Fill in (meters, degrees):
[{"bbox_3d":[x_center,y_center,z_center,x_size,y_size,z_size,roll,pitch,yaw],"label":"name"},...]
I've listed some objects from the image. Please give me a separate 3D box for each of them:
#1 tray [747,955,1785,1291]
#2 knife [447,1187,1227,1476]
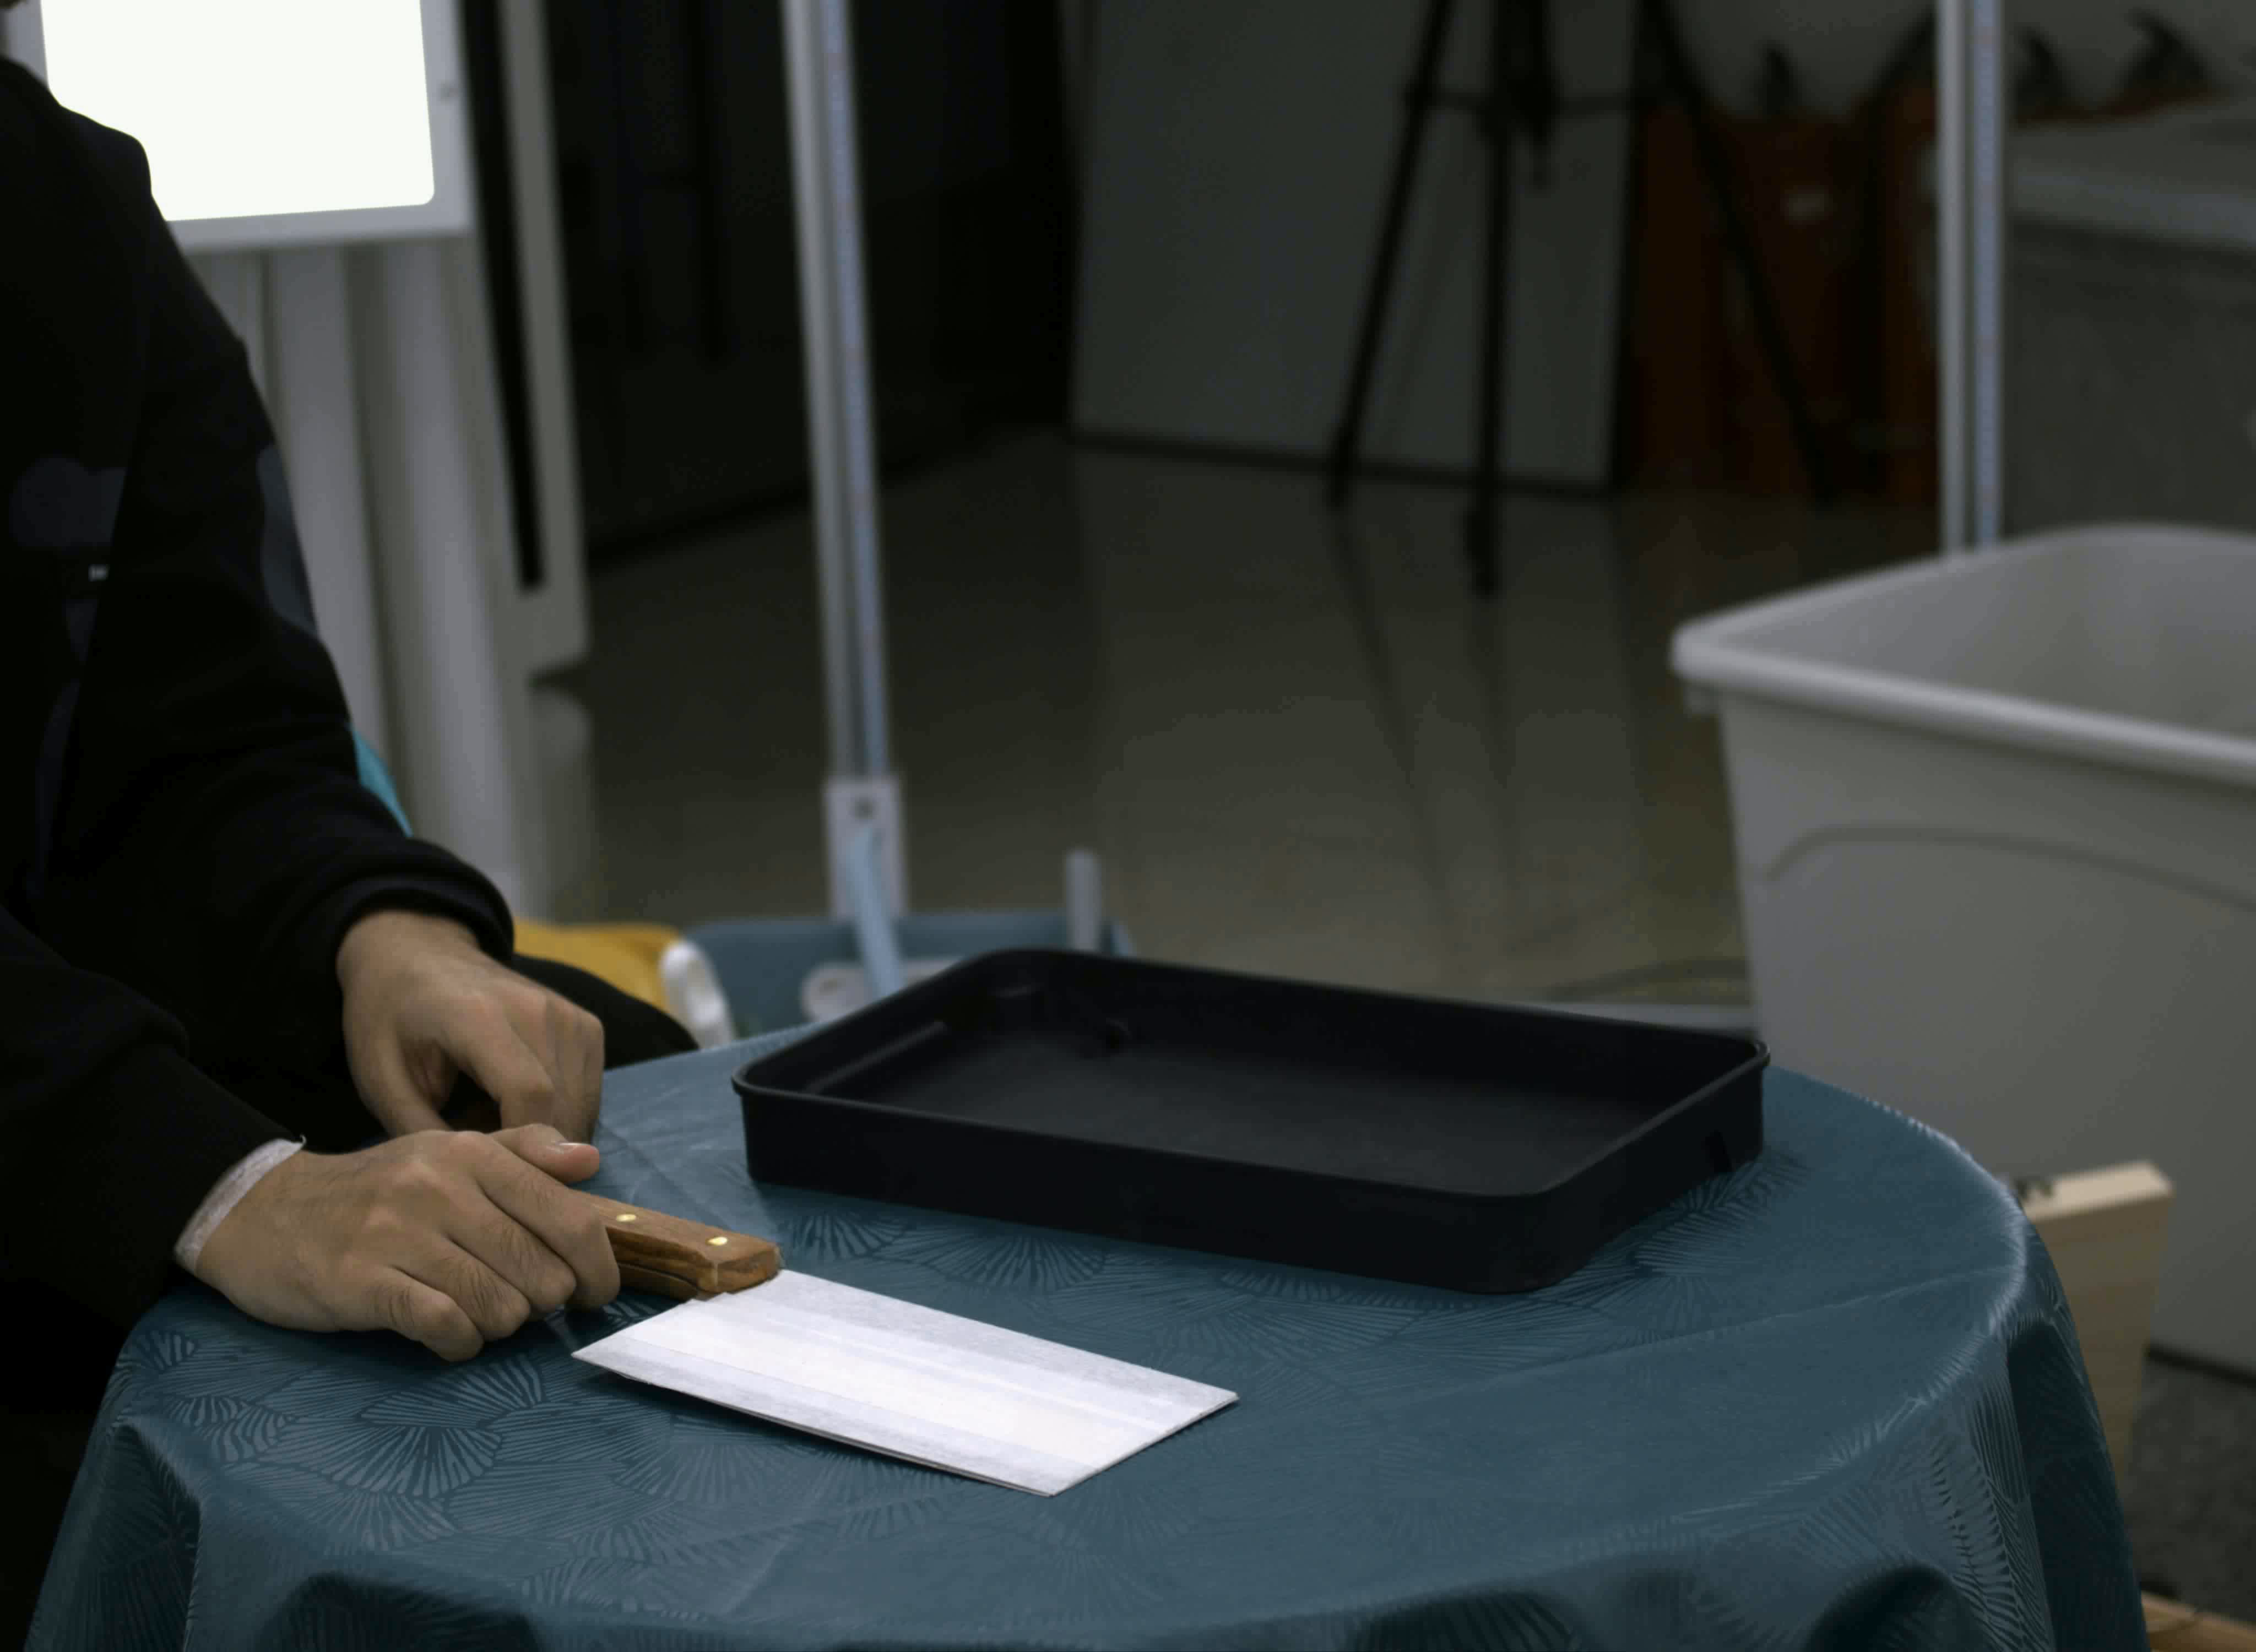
[{"bbox_3d":[0.045,0.095,1.788,0.319,0.037,0.181,4,17,32],"label":"tray"},{"bbox_3d":[-0.110,0.155,1.636,0.308,0.021,0.091,10,21,39],"label":"knife"}]
